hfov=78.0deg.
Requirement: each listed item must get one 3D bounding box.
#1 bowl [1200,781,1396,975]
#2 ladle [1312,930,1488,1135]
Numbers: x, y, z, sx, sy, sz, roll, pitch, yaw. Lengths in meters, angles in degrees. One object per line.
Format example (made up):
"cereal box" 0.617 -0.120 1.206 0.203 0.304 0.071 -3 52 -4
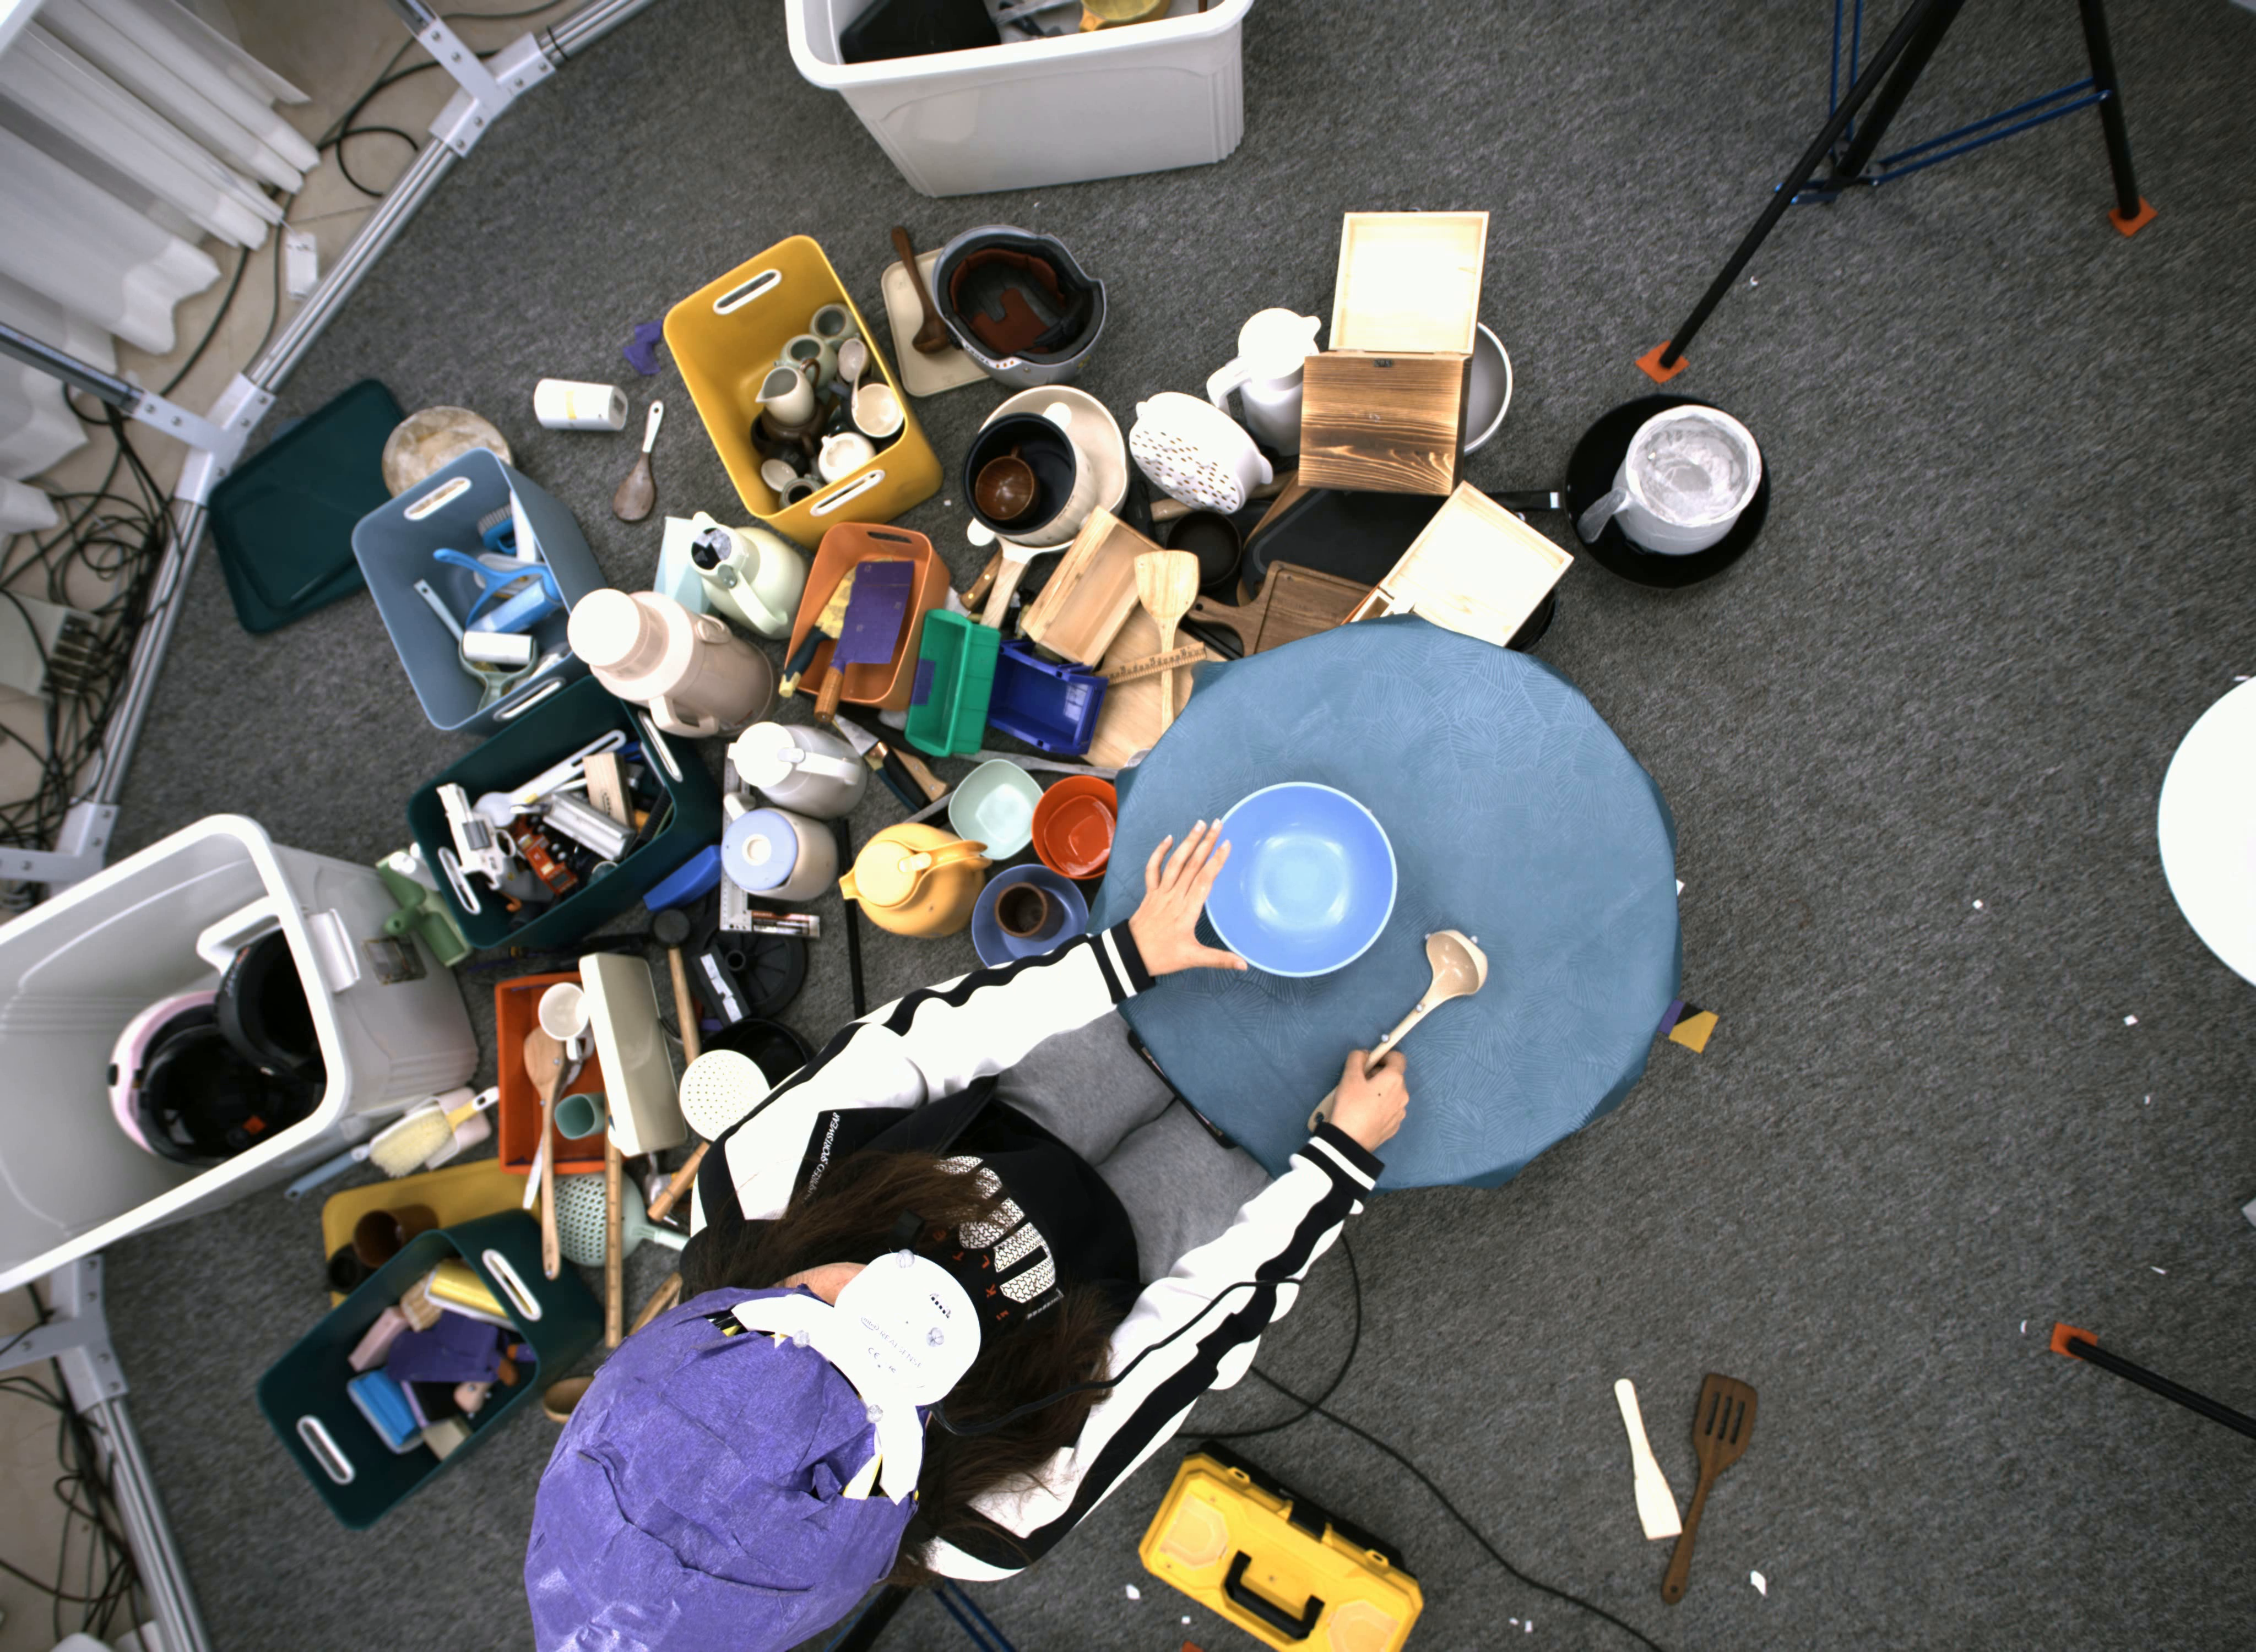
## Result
"bowl" 0.176 0.057 1.429 0.197 0.096 0.195 -1 84 9
"ladle" 0.267 0.211 1.408 0.254 0.073 0.071 -48 63 0
